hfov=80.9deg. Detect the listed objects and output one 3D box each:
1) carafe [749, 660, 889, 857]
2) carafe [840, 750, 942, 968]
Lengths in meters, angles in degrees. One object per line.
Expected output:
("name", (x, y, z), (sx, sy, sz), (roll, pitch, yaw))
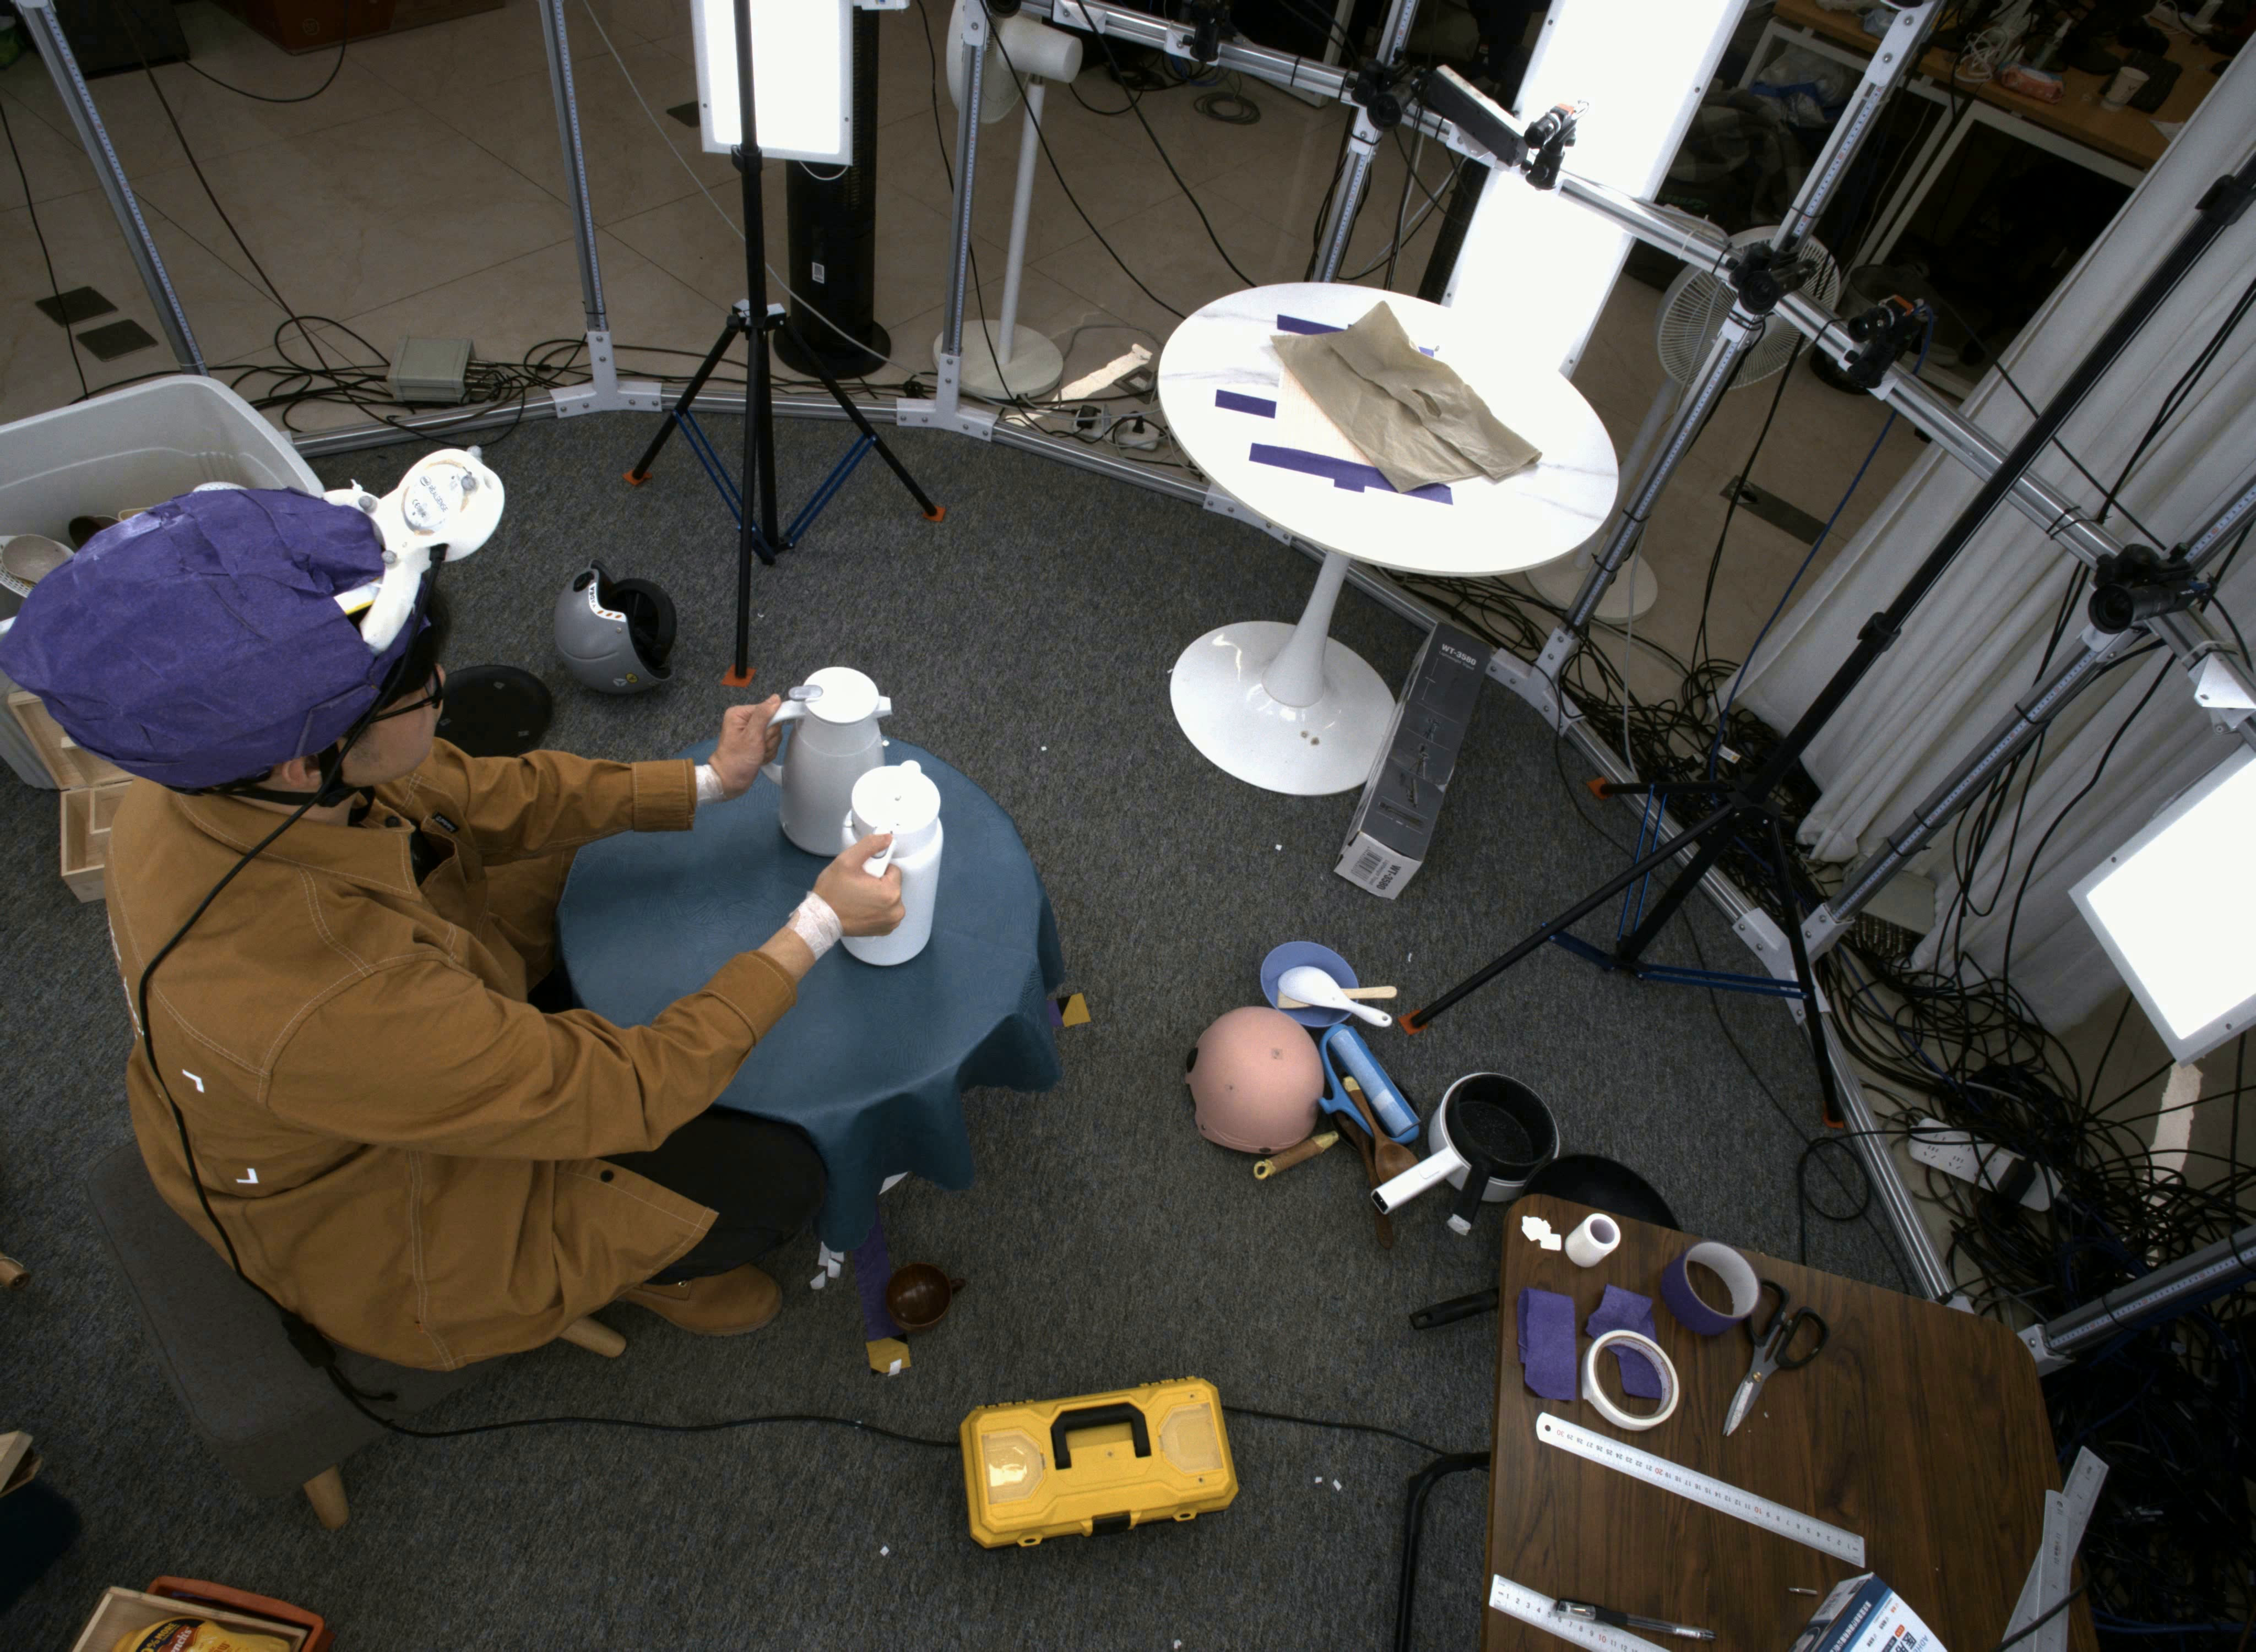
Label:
("carafe", (-0.390, -0.090, 1.630), (0.168, 0.253, 0.129), (-2, 52, -17))
("carafe", (-0.286, 0.060, 1.537), (0.123, 0.274, 0.170), (15, 49, -4))
